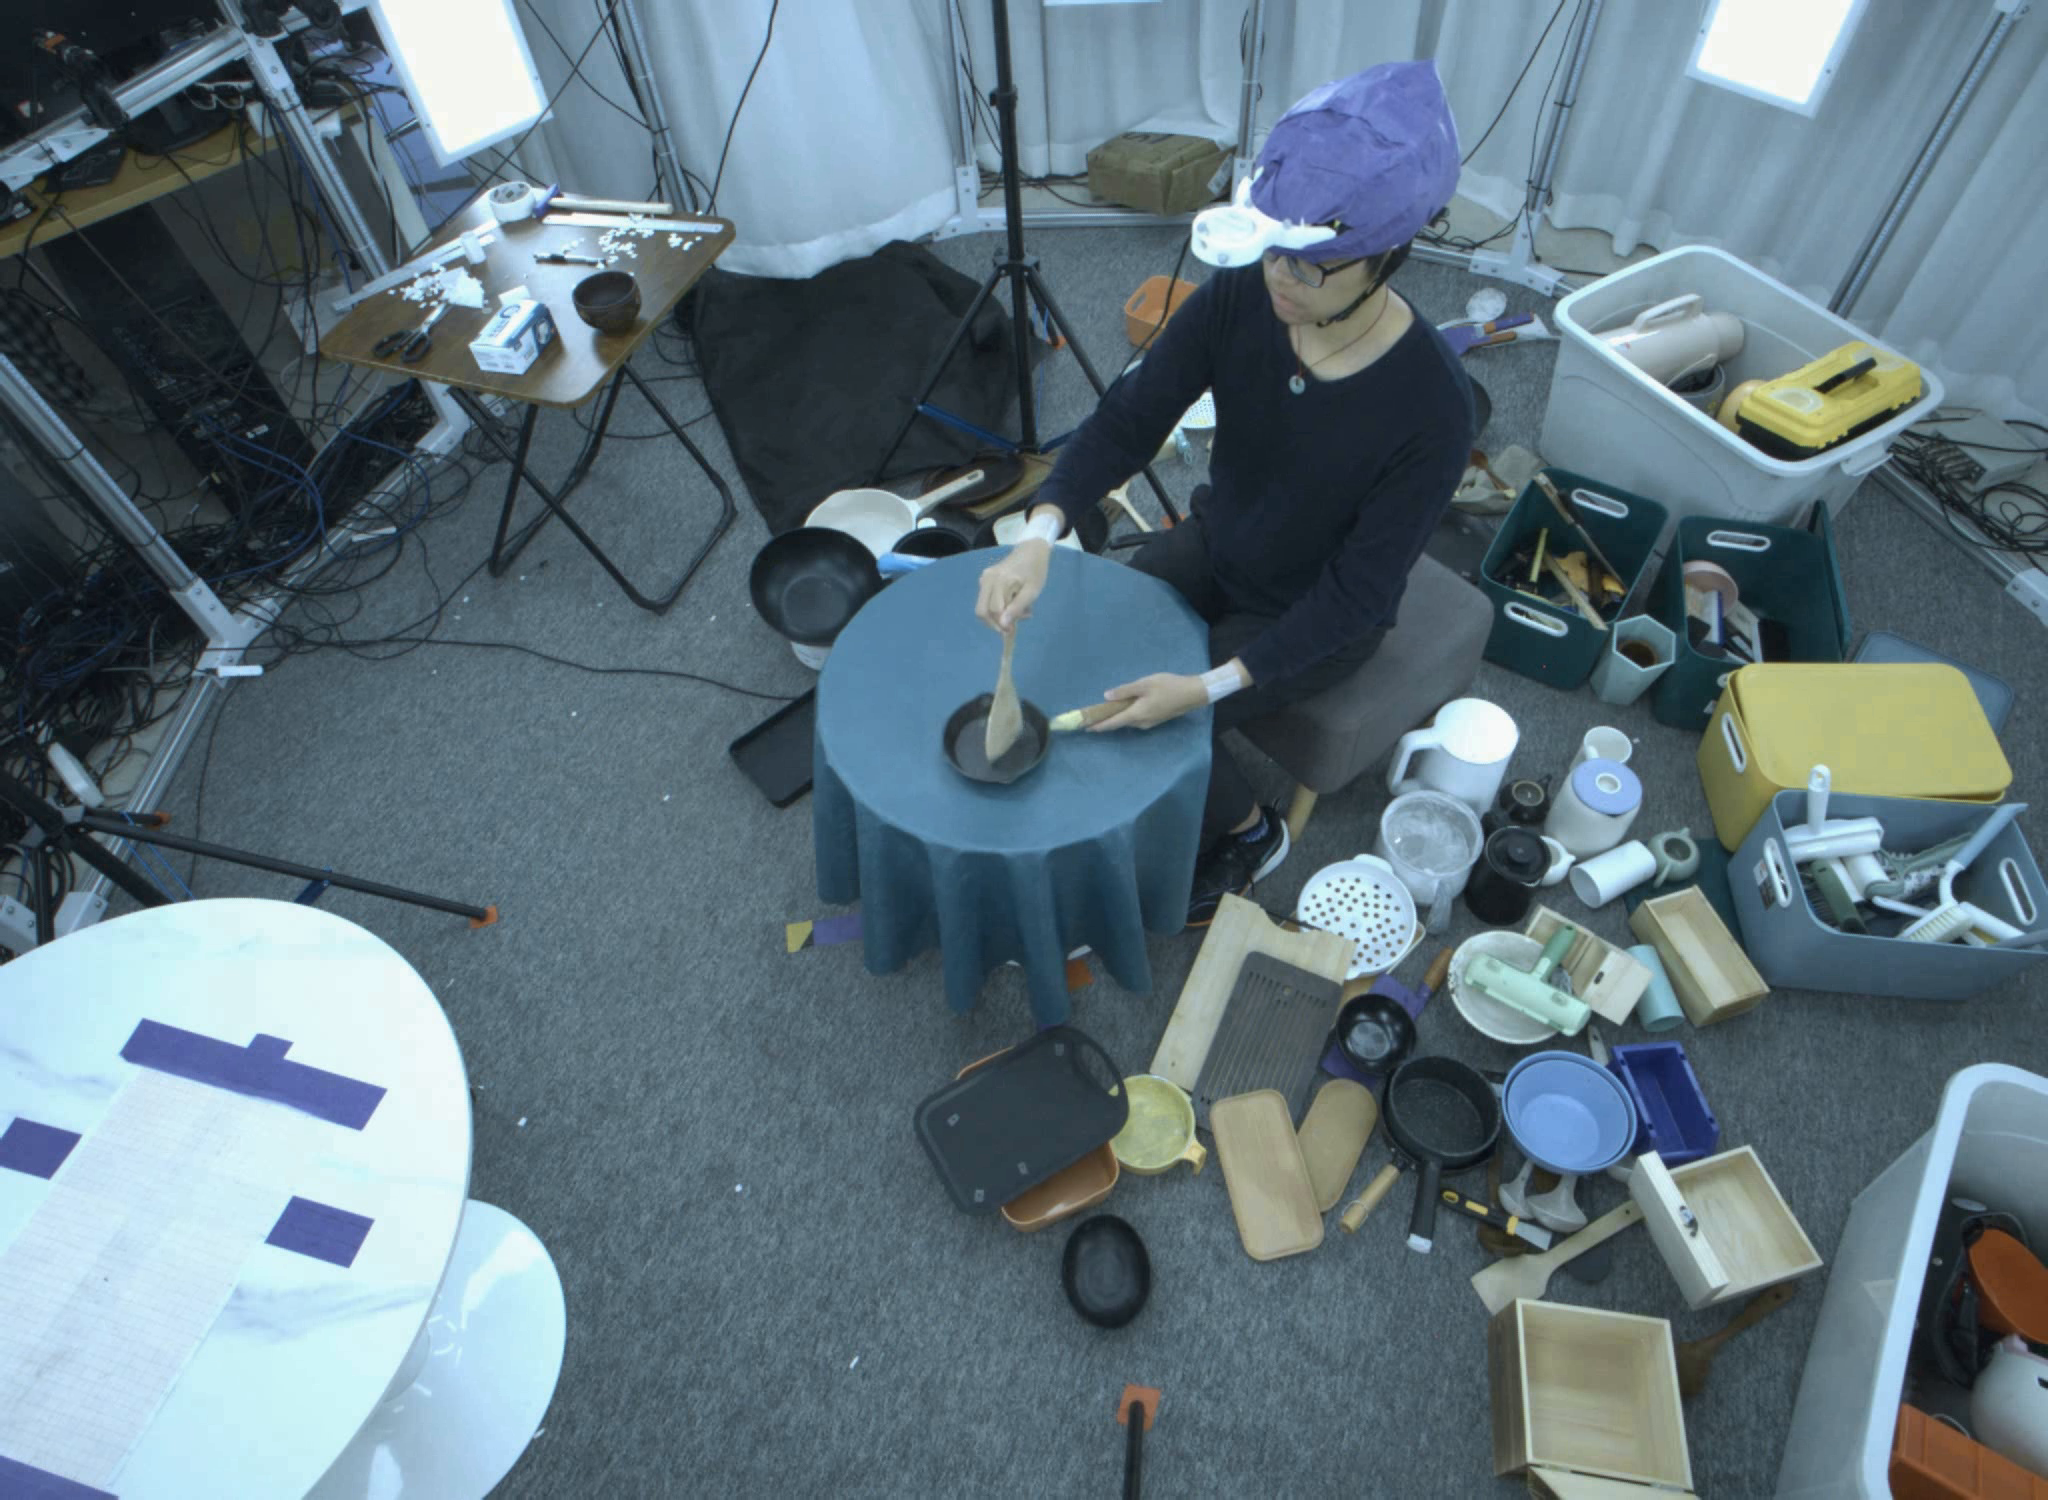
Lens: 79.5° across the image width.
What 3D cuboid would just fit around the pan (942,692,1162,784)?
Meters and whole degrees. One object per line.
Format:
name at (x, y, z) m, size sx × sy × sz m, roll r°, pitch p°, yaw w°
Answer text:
pan at (0.042, -0.033, 1.778) m, size 0.325 × 0.050 × 0.166 m, roll -12°, pitch 55°, yaw -5°

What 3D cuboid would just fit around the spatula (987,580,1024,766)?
spatula at (-0.021, -0.104, 1.664) m, size 0.016 × 0.330 × 0.080 m, roll 33°, pitch 56°, yaw 21°
